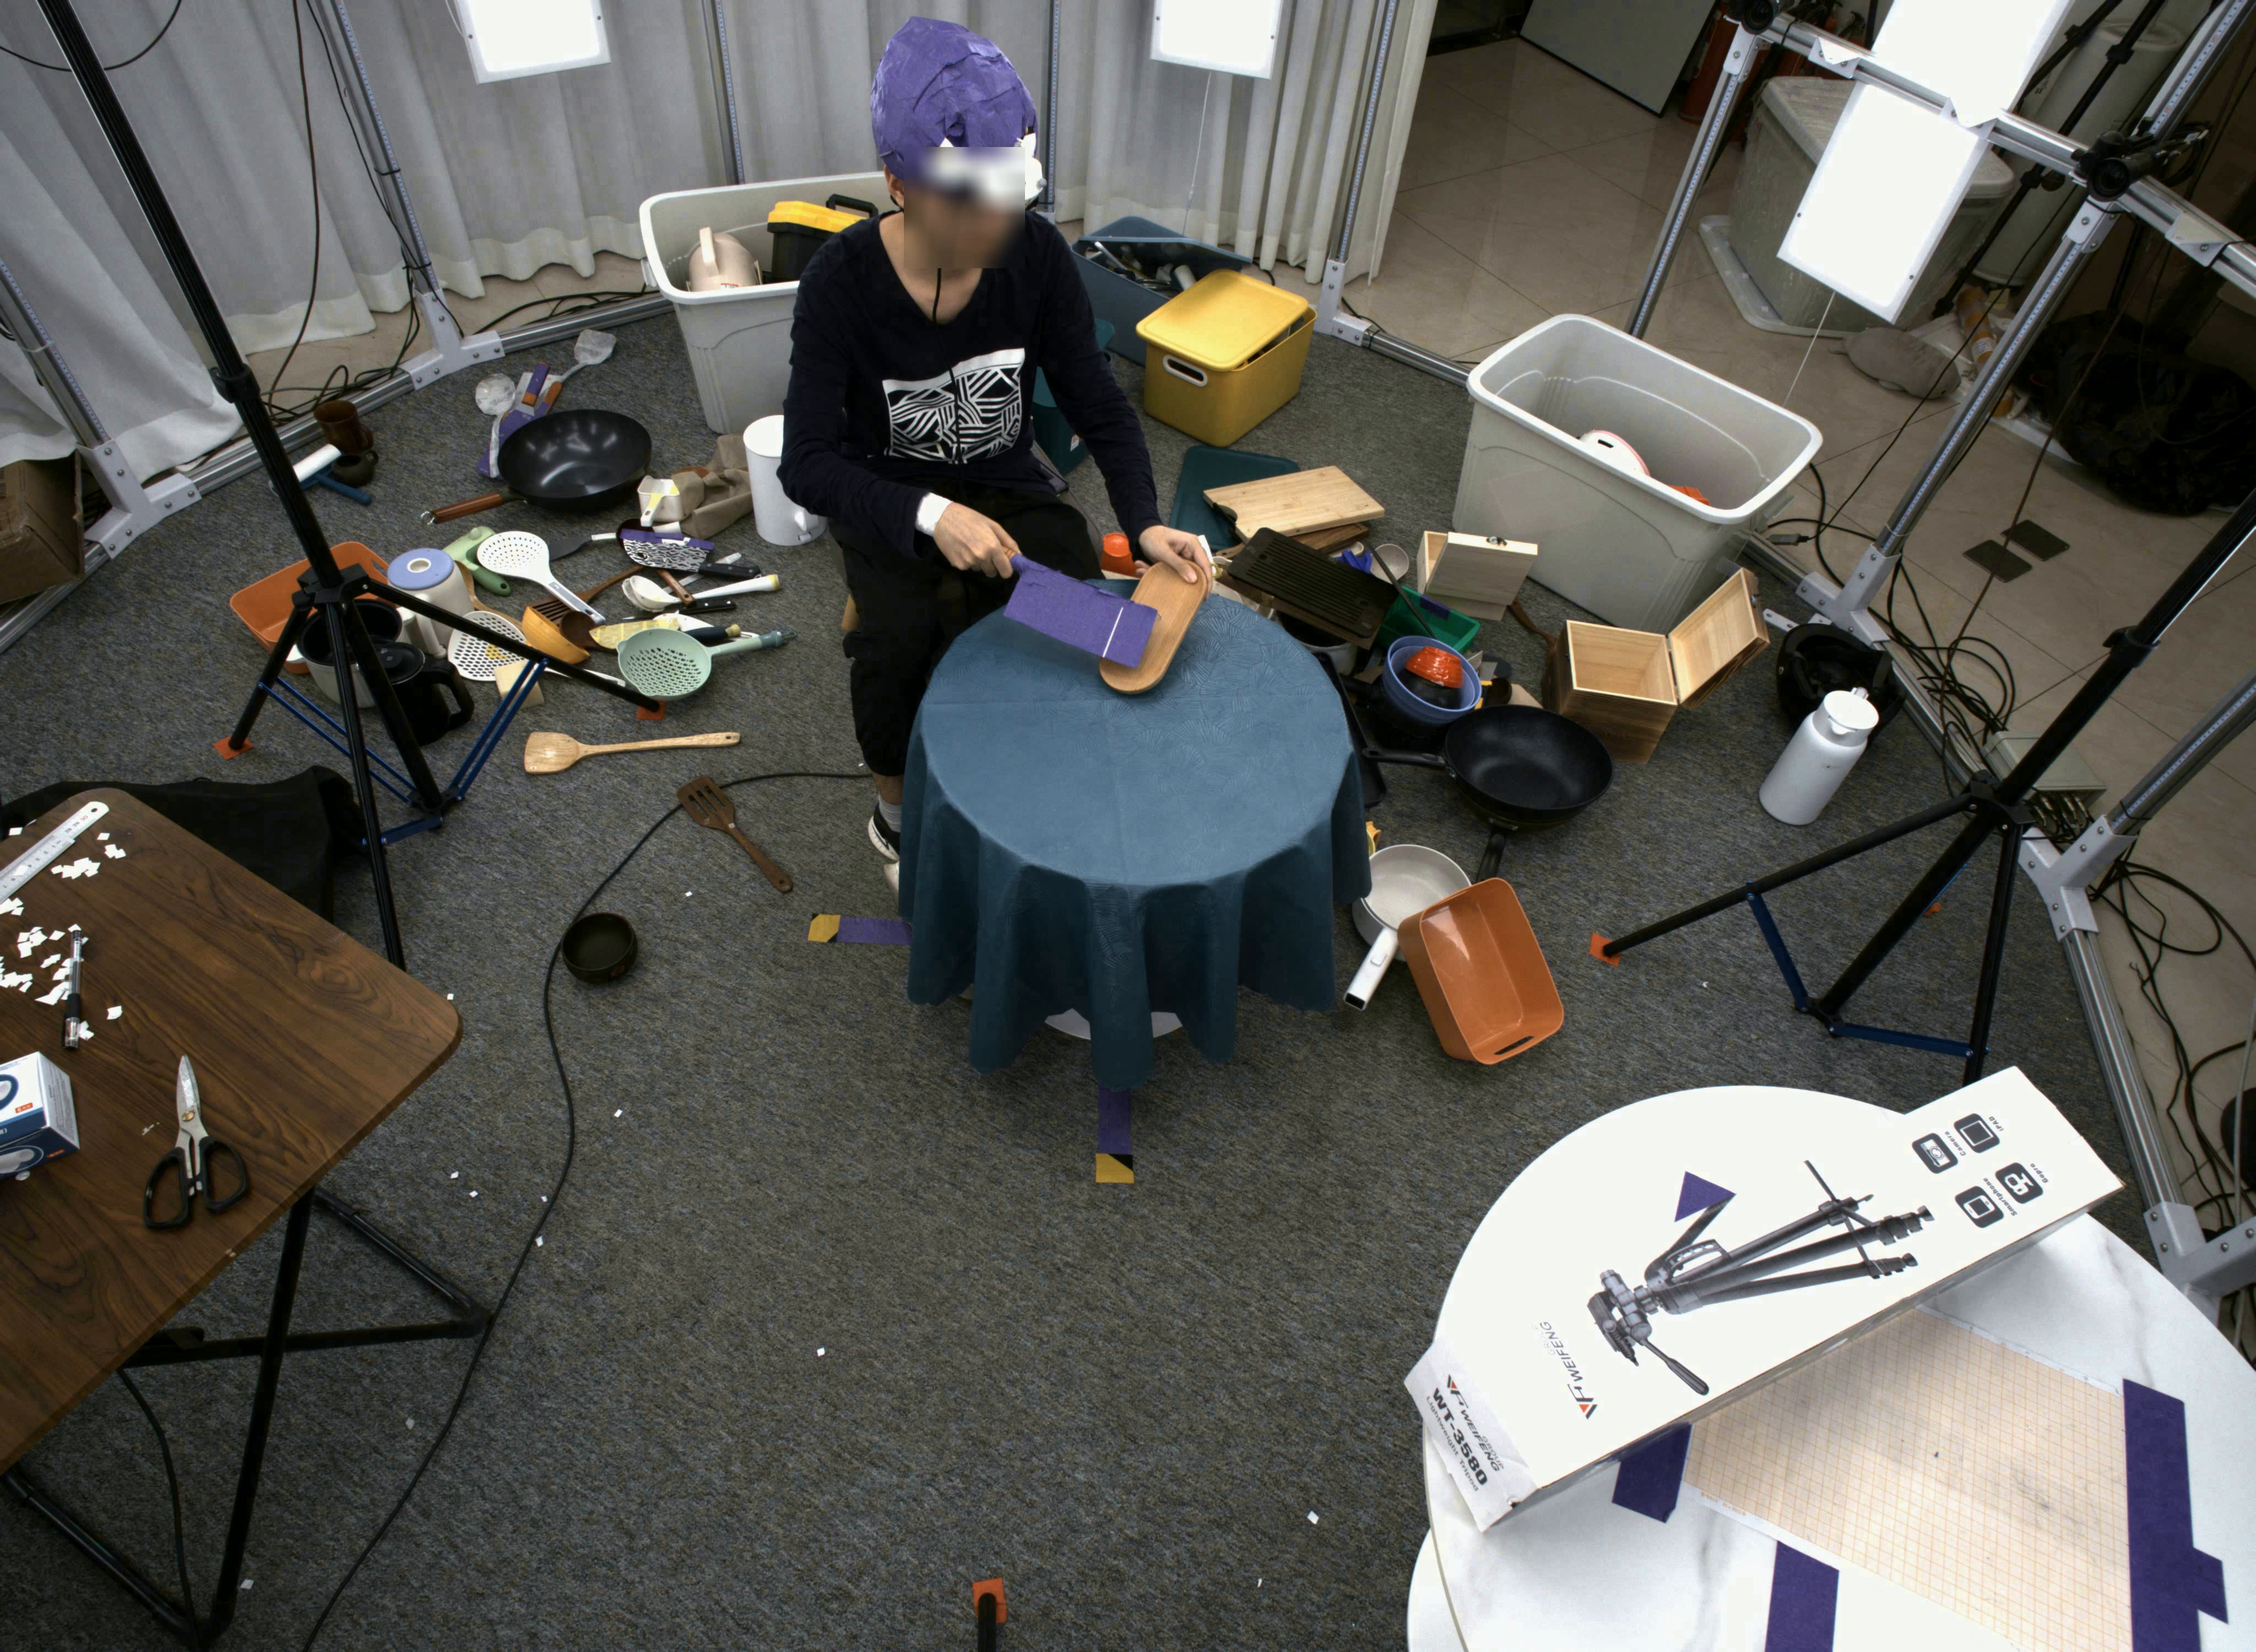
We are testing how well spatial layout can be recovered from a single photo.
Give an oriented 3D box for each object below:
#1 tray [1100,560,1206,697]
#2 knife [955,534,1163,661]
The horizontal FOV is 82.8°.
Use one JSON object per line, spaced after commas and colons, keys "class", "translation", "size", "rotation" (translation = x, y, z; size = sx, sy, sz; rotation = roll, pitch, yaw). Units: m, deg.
{"class": "tray", "translation": [0.038, -0.287, 1.860], "size": [0.102, 0.020, 0.234], "rotation": [18, 72, 22]}
{"class": "knife", "translation": [-0.112, -0.324, 1.832], "size": [0.316, 0.032, 0.104], "rotation": [22, 81, 9]}
